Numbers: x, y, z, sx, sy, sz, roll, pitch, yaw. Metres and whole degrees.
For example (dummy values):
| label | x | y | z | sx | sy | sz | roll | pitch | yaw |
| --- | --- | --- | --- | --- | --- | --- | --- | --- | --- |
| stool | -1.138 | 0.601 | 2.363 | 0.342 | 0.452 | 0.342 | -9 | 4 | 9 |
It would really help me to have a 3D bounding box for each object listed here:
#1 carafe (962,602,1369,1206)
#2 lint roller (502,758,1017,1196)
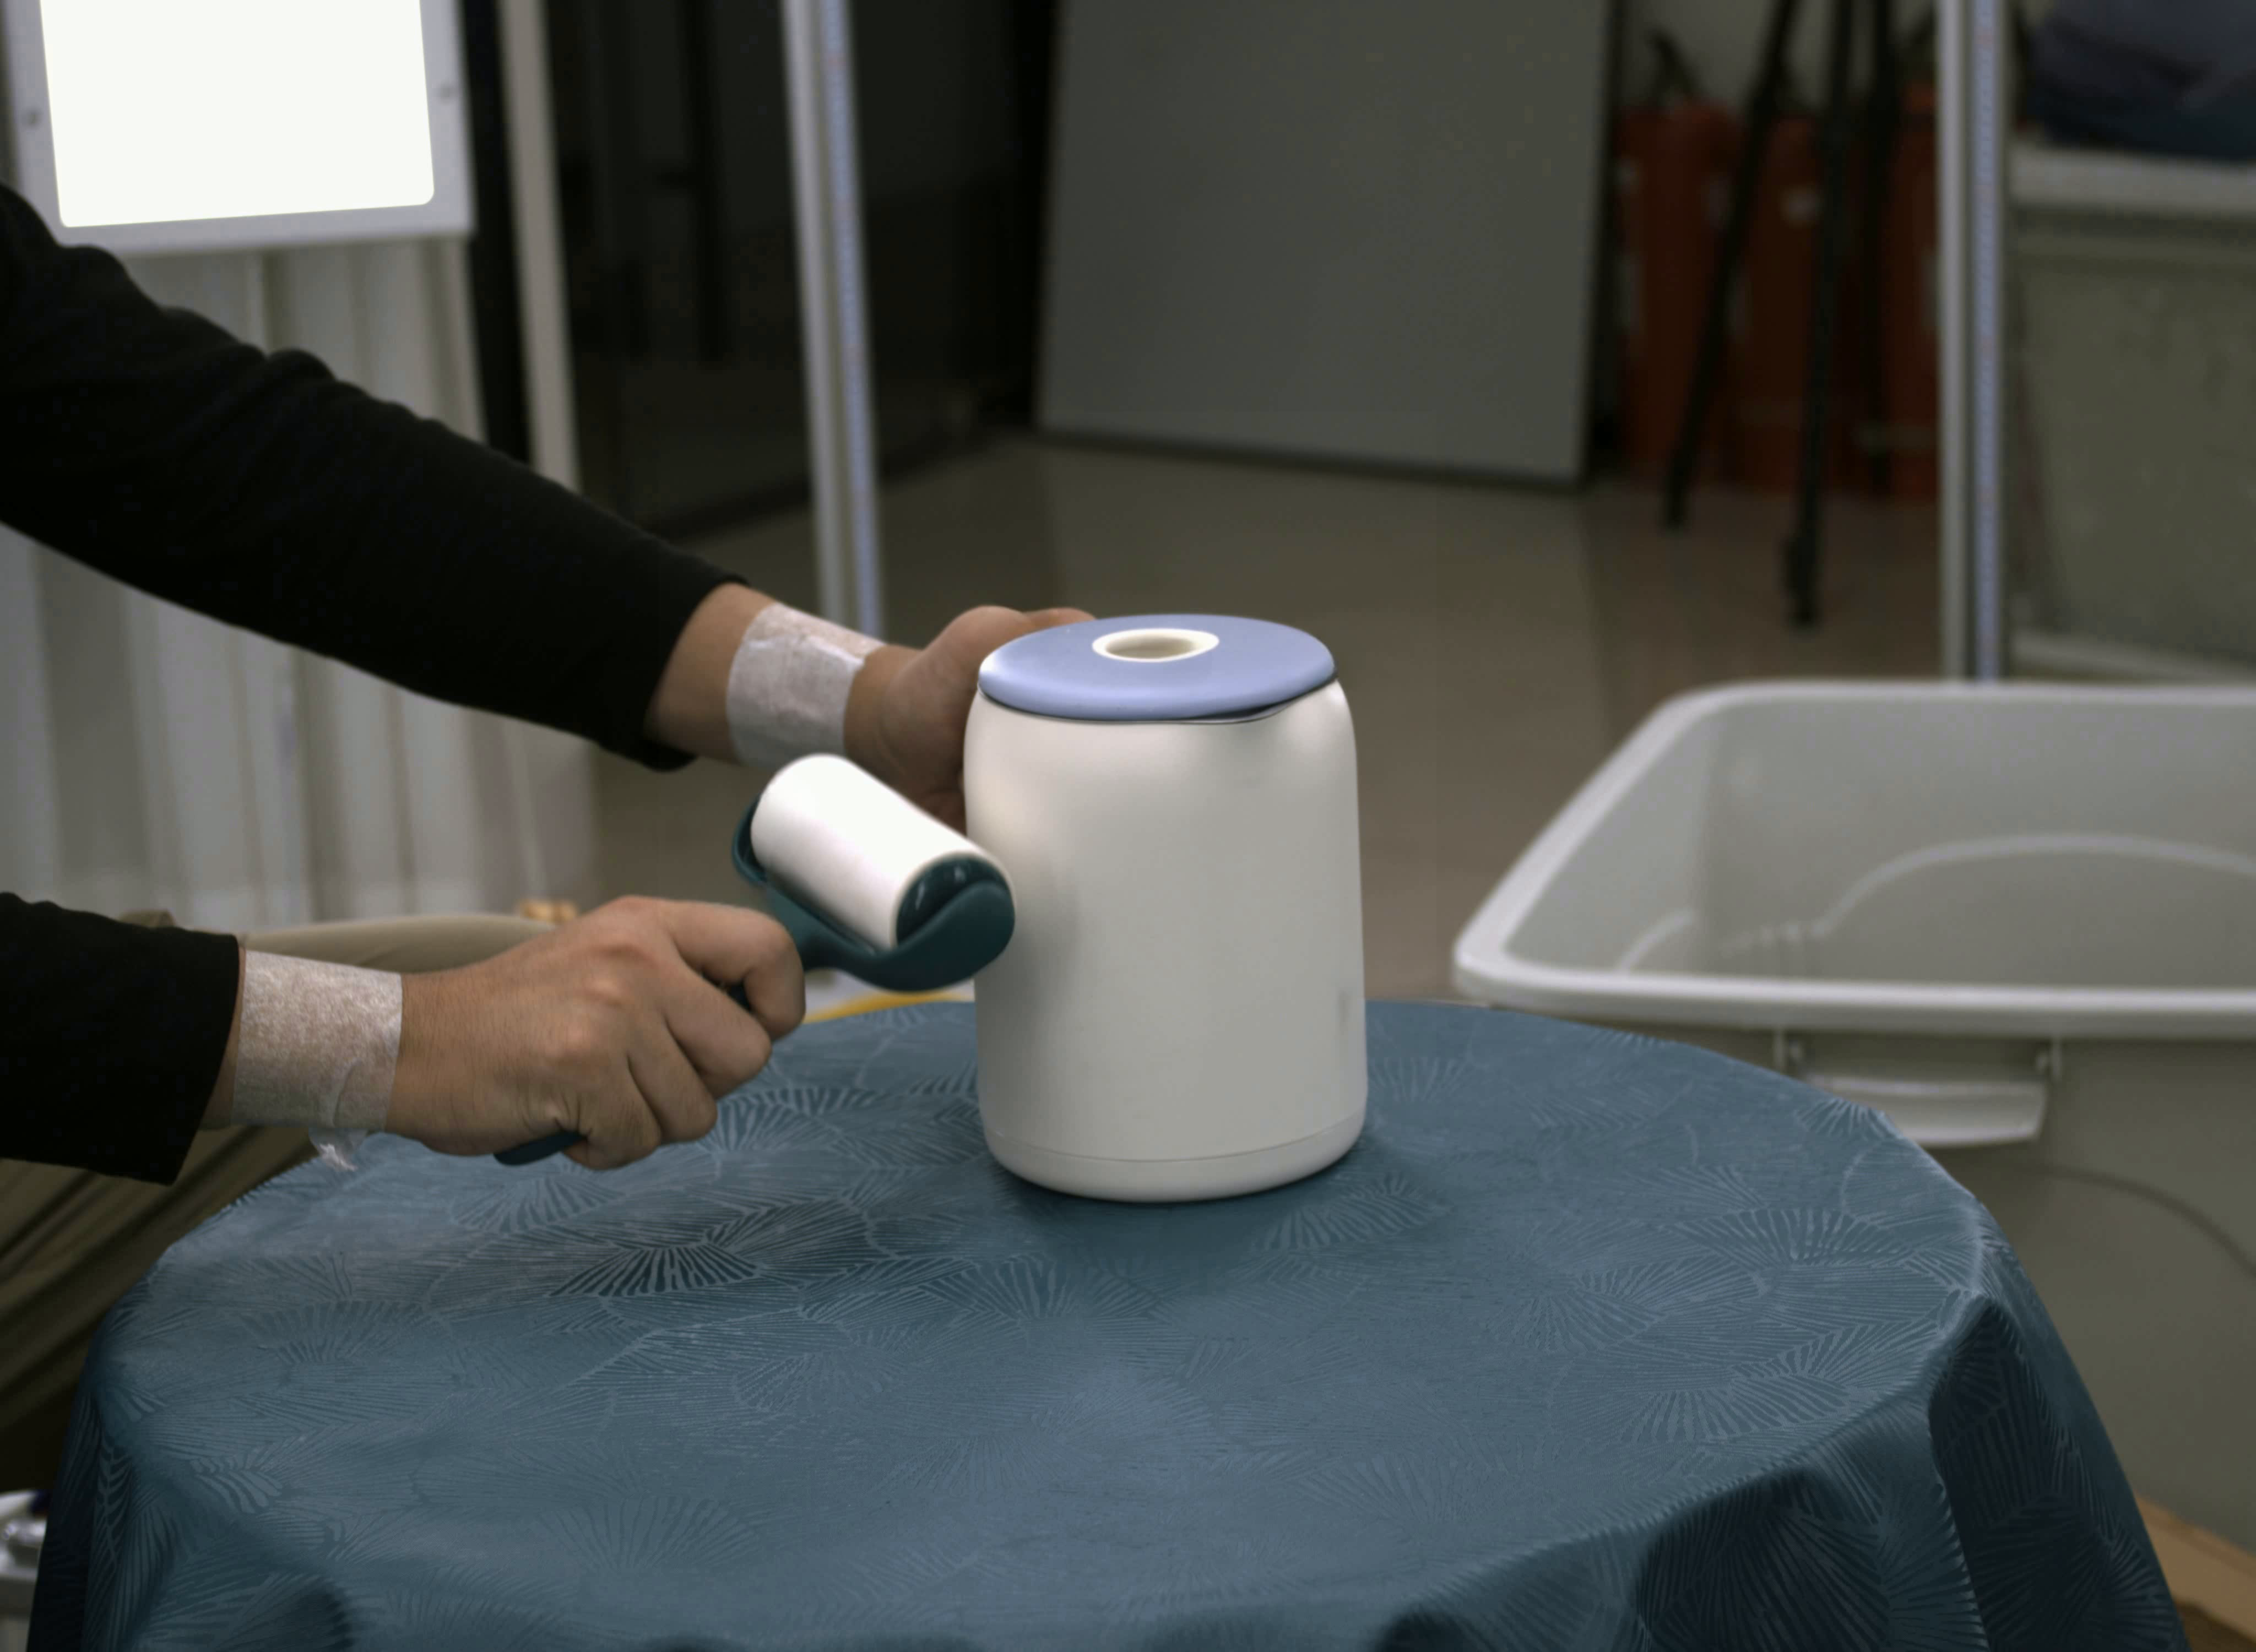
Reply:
| label | x | y | z | sx | sy | sz | roll | pitch | yaw |
| --- | --- | --- | --- | --- | --- | --- | --- | --- | --- |
| carafe | 0.001 | 0.020 | 1.809 | 0.129 | 0.184 | 0.193 | -10 | 14 | -26 |
| lint roller | -0.132 | 0.051 | 1.733 | 0.178 | 0.048 | 0.136 | -33 | 30 | -17 |
